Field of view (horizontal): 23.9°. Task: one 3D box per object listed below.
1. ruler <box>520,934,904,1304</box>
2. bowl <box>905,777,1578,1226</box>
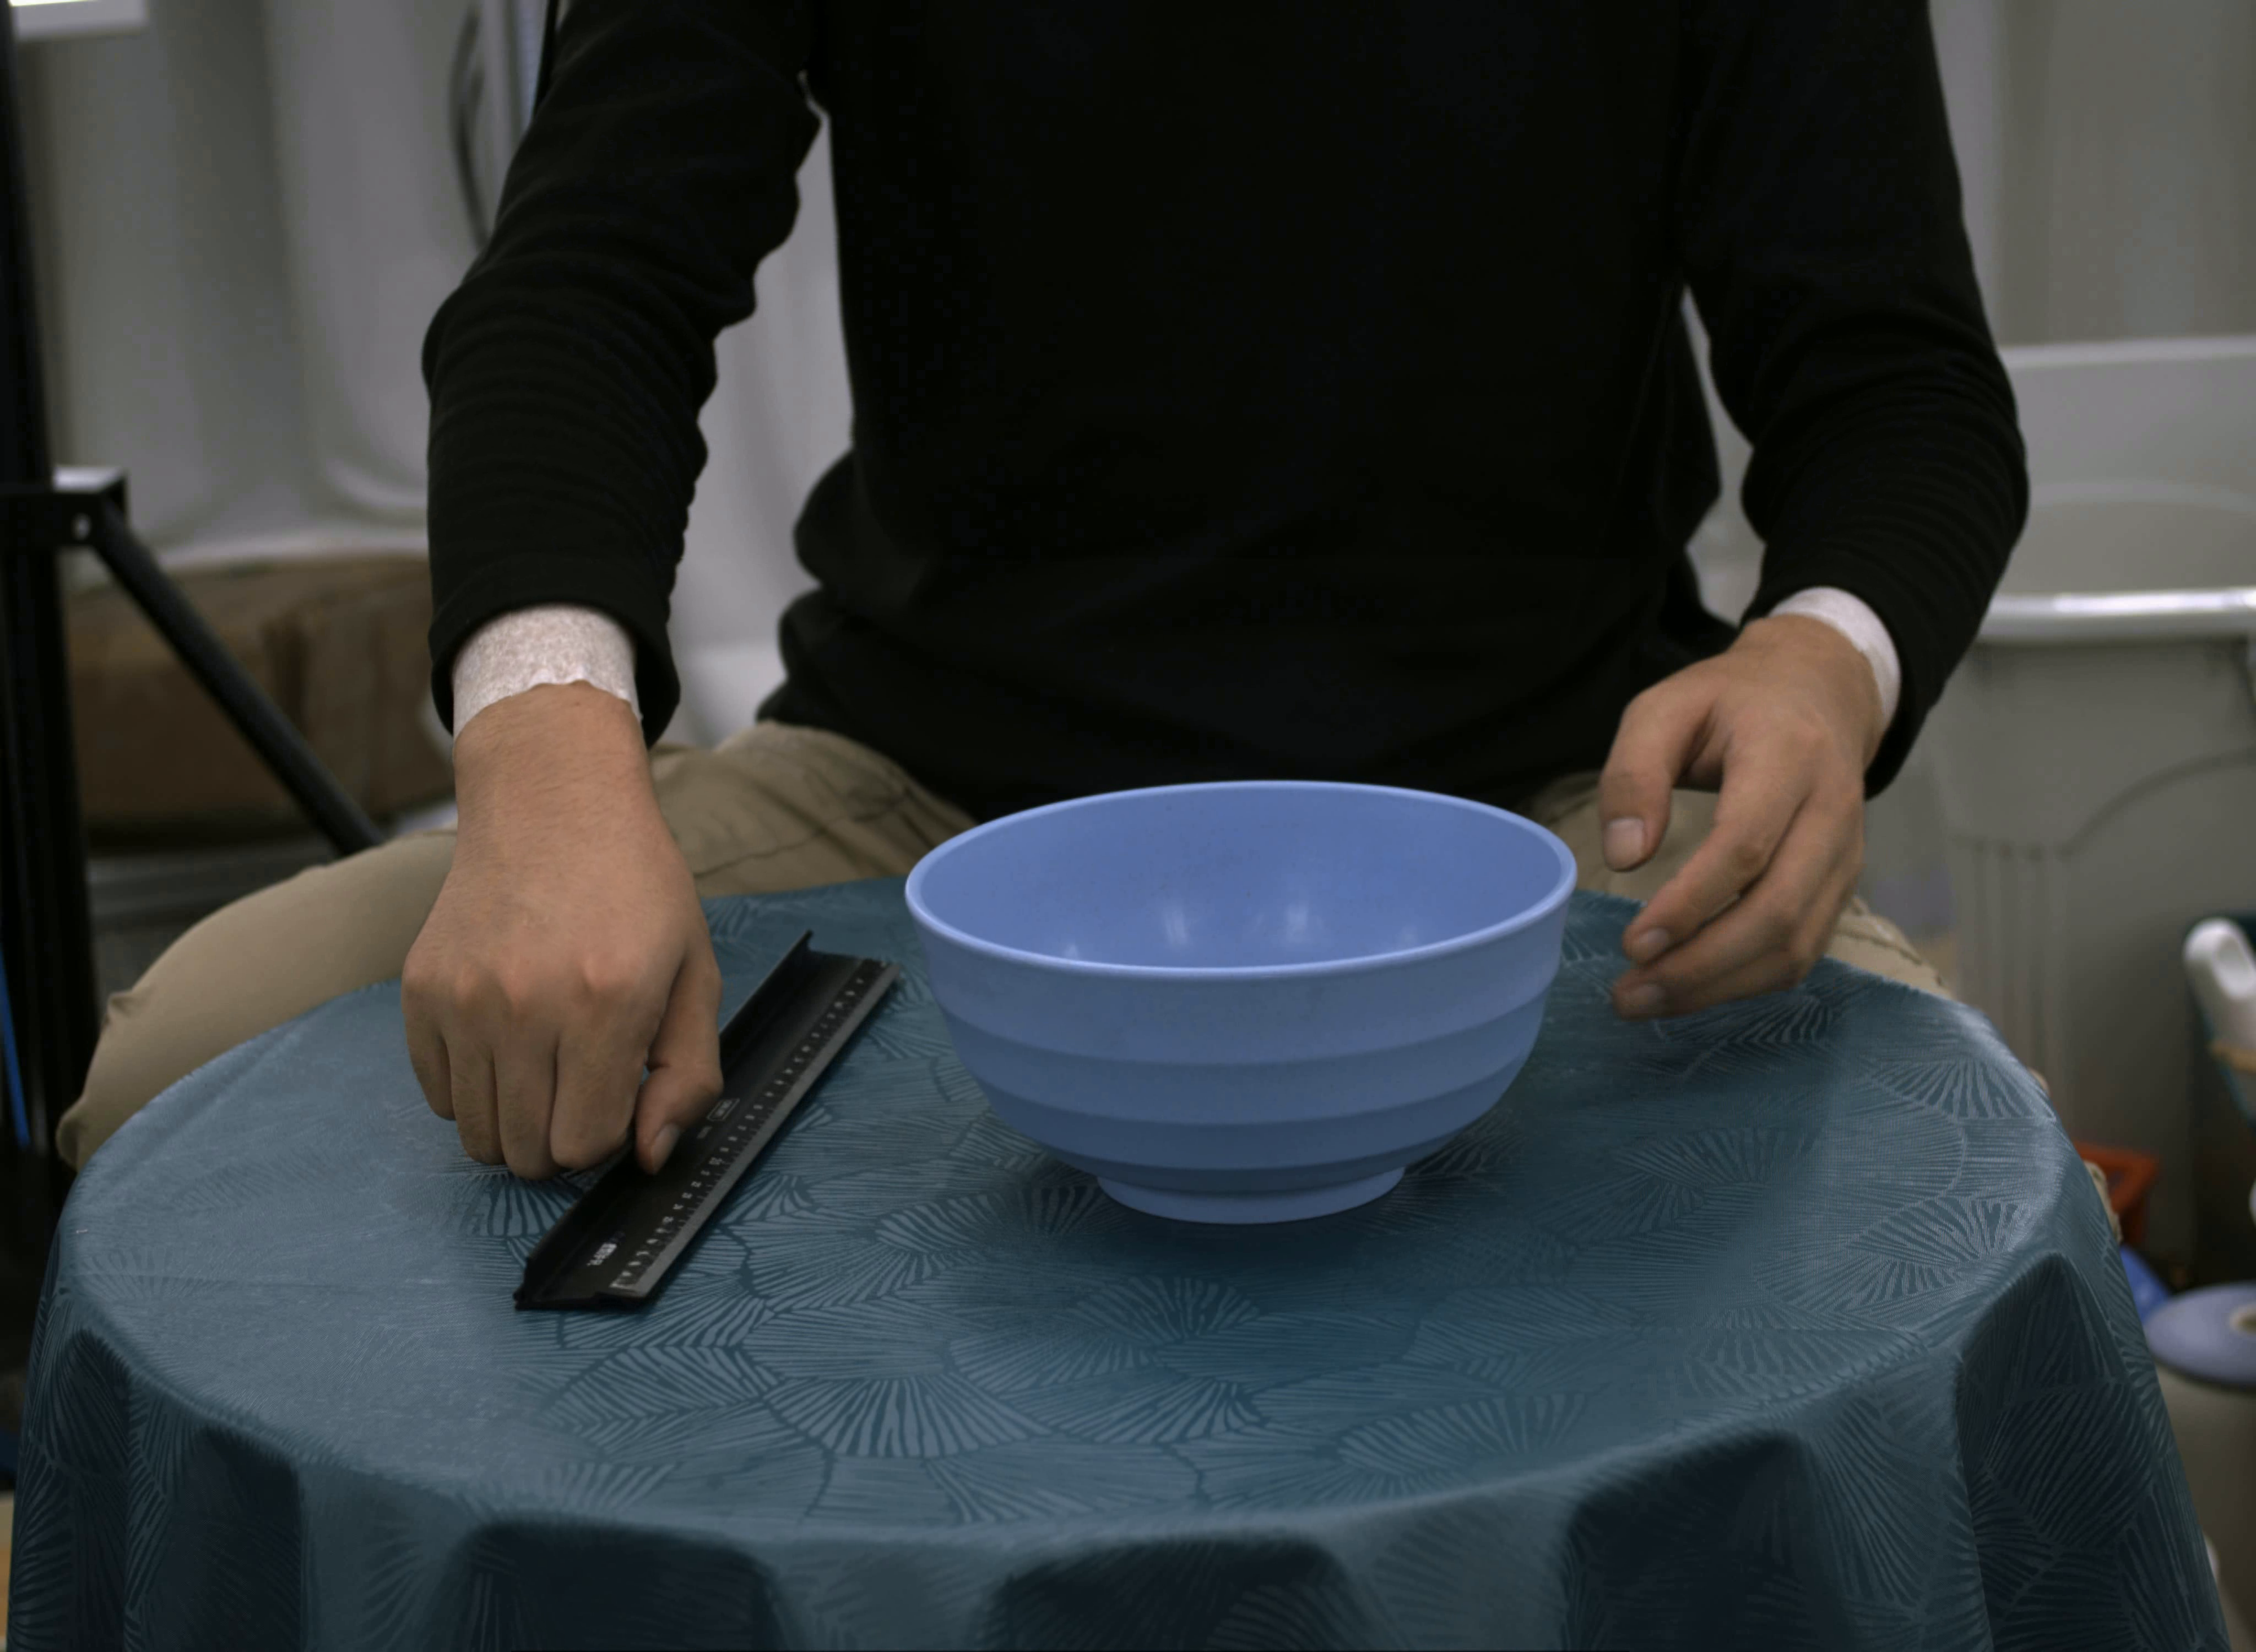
[{"bbox_3d":[-0.122,0.085,1.627,0.039,0.017,0.311,1,16,12],"label":"ruler"},{"bbox_3d":[0.034,0.057,1.556,0.195,0.095,0.197,-3,16,-1],"label":"bowl"}]
